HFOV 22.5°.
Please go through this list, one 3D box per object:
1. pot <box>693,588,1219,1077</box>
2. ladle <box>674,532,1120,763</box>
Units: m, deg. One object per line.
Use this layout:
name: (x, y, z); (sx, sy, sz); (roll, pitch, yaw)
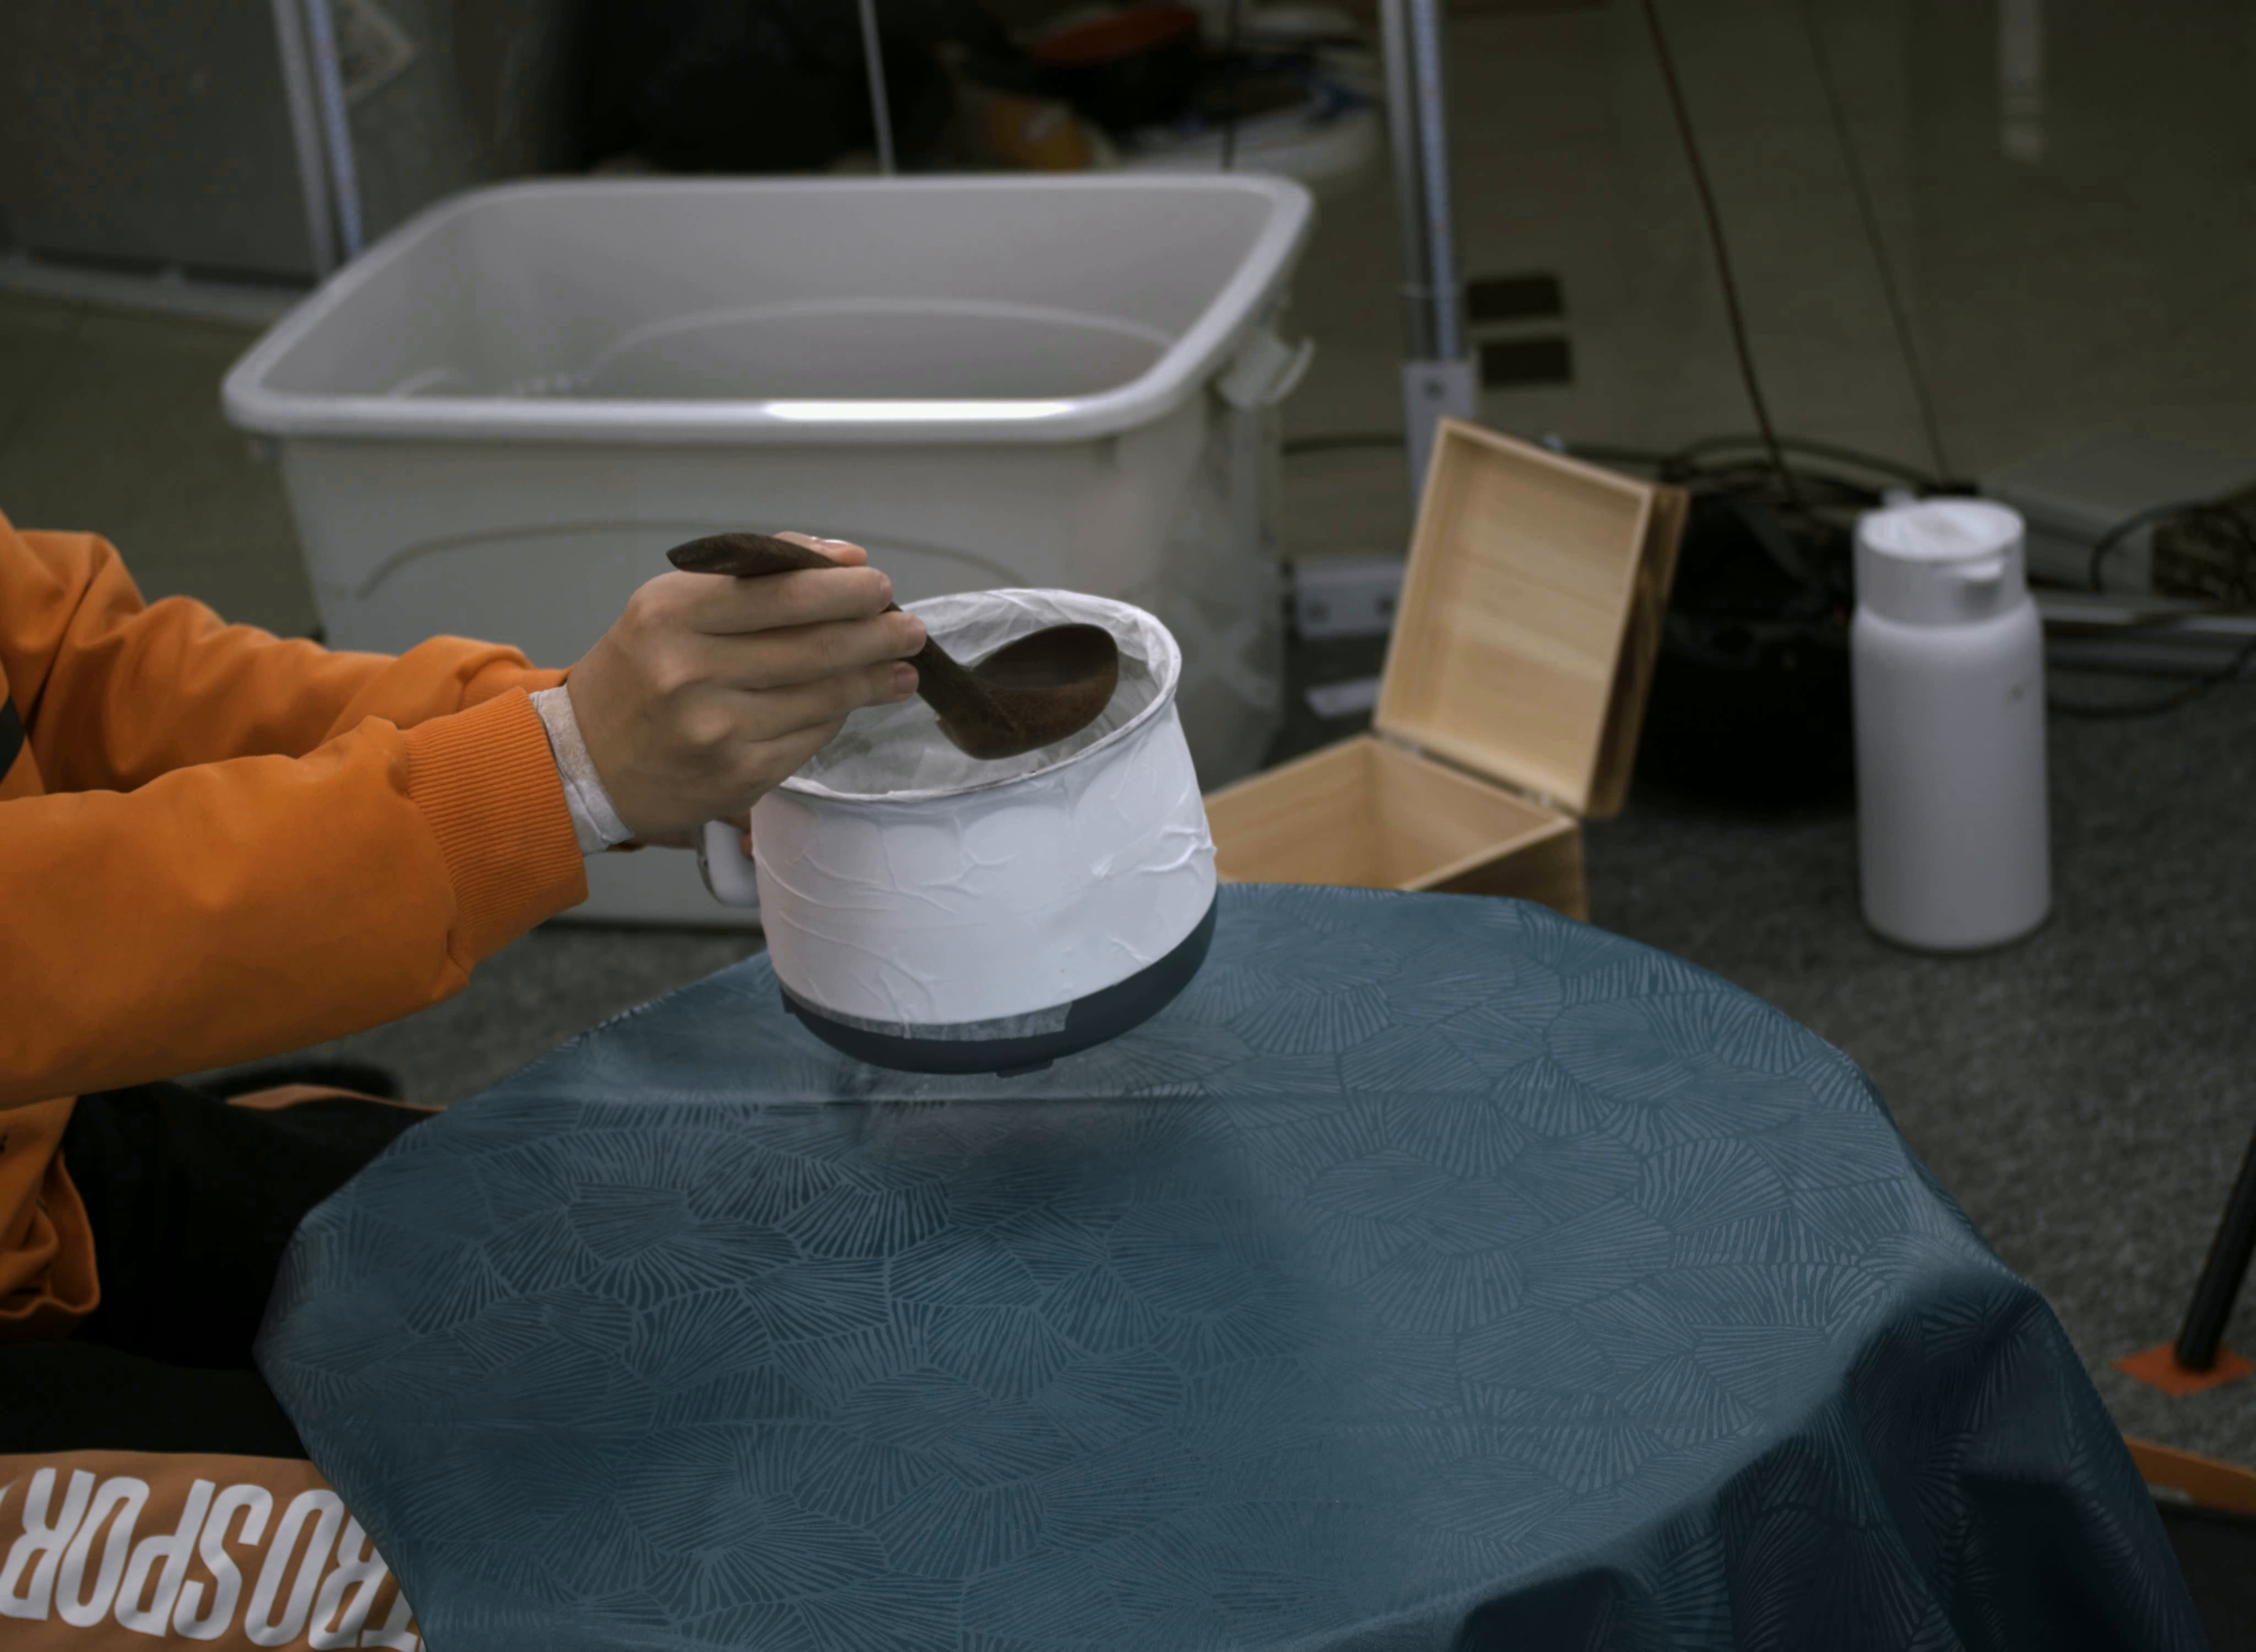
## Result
pot: (-0.079, 0.000, 2.195); (0.232, 0.139, 0.176); (11, 34, 35)
ladle: (-0.086, -0.083, 2.026); (0.076, 0.276, 0.070); (-19, 65, 22)
